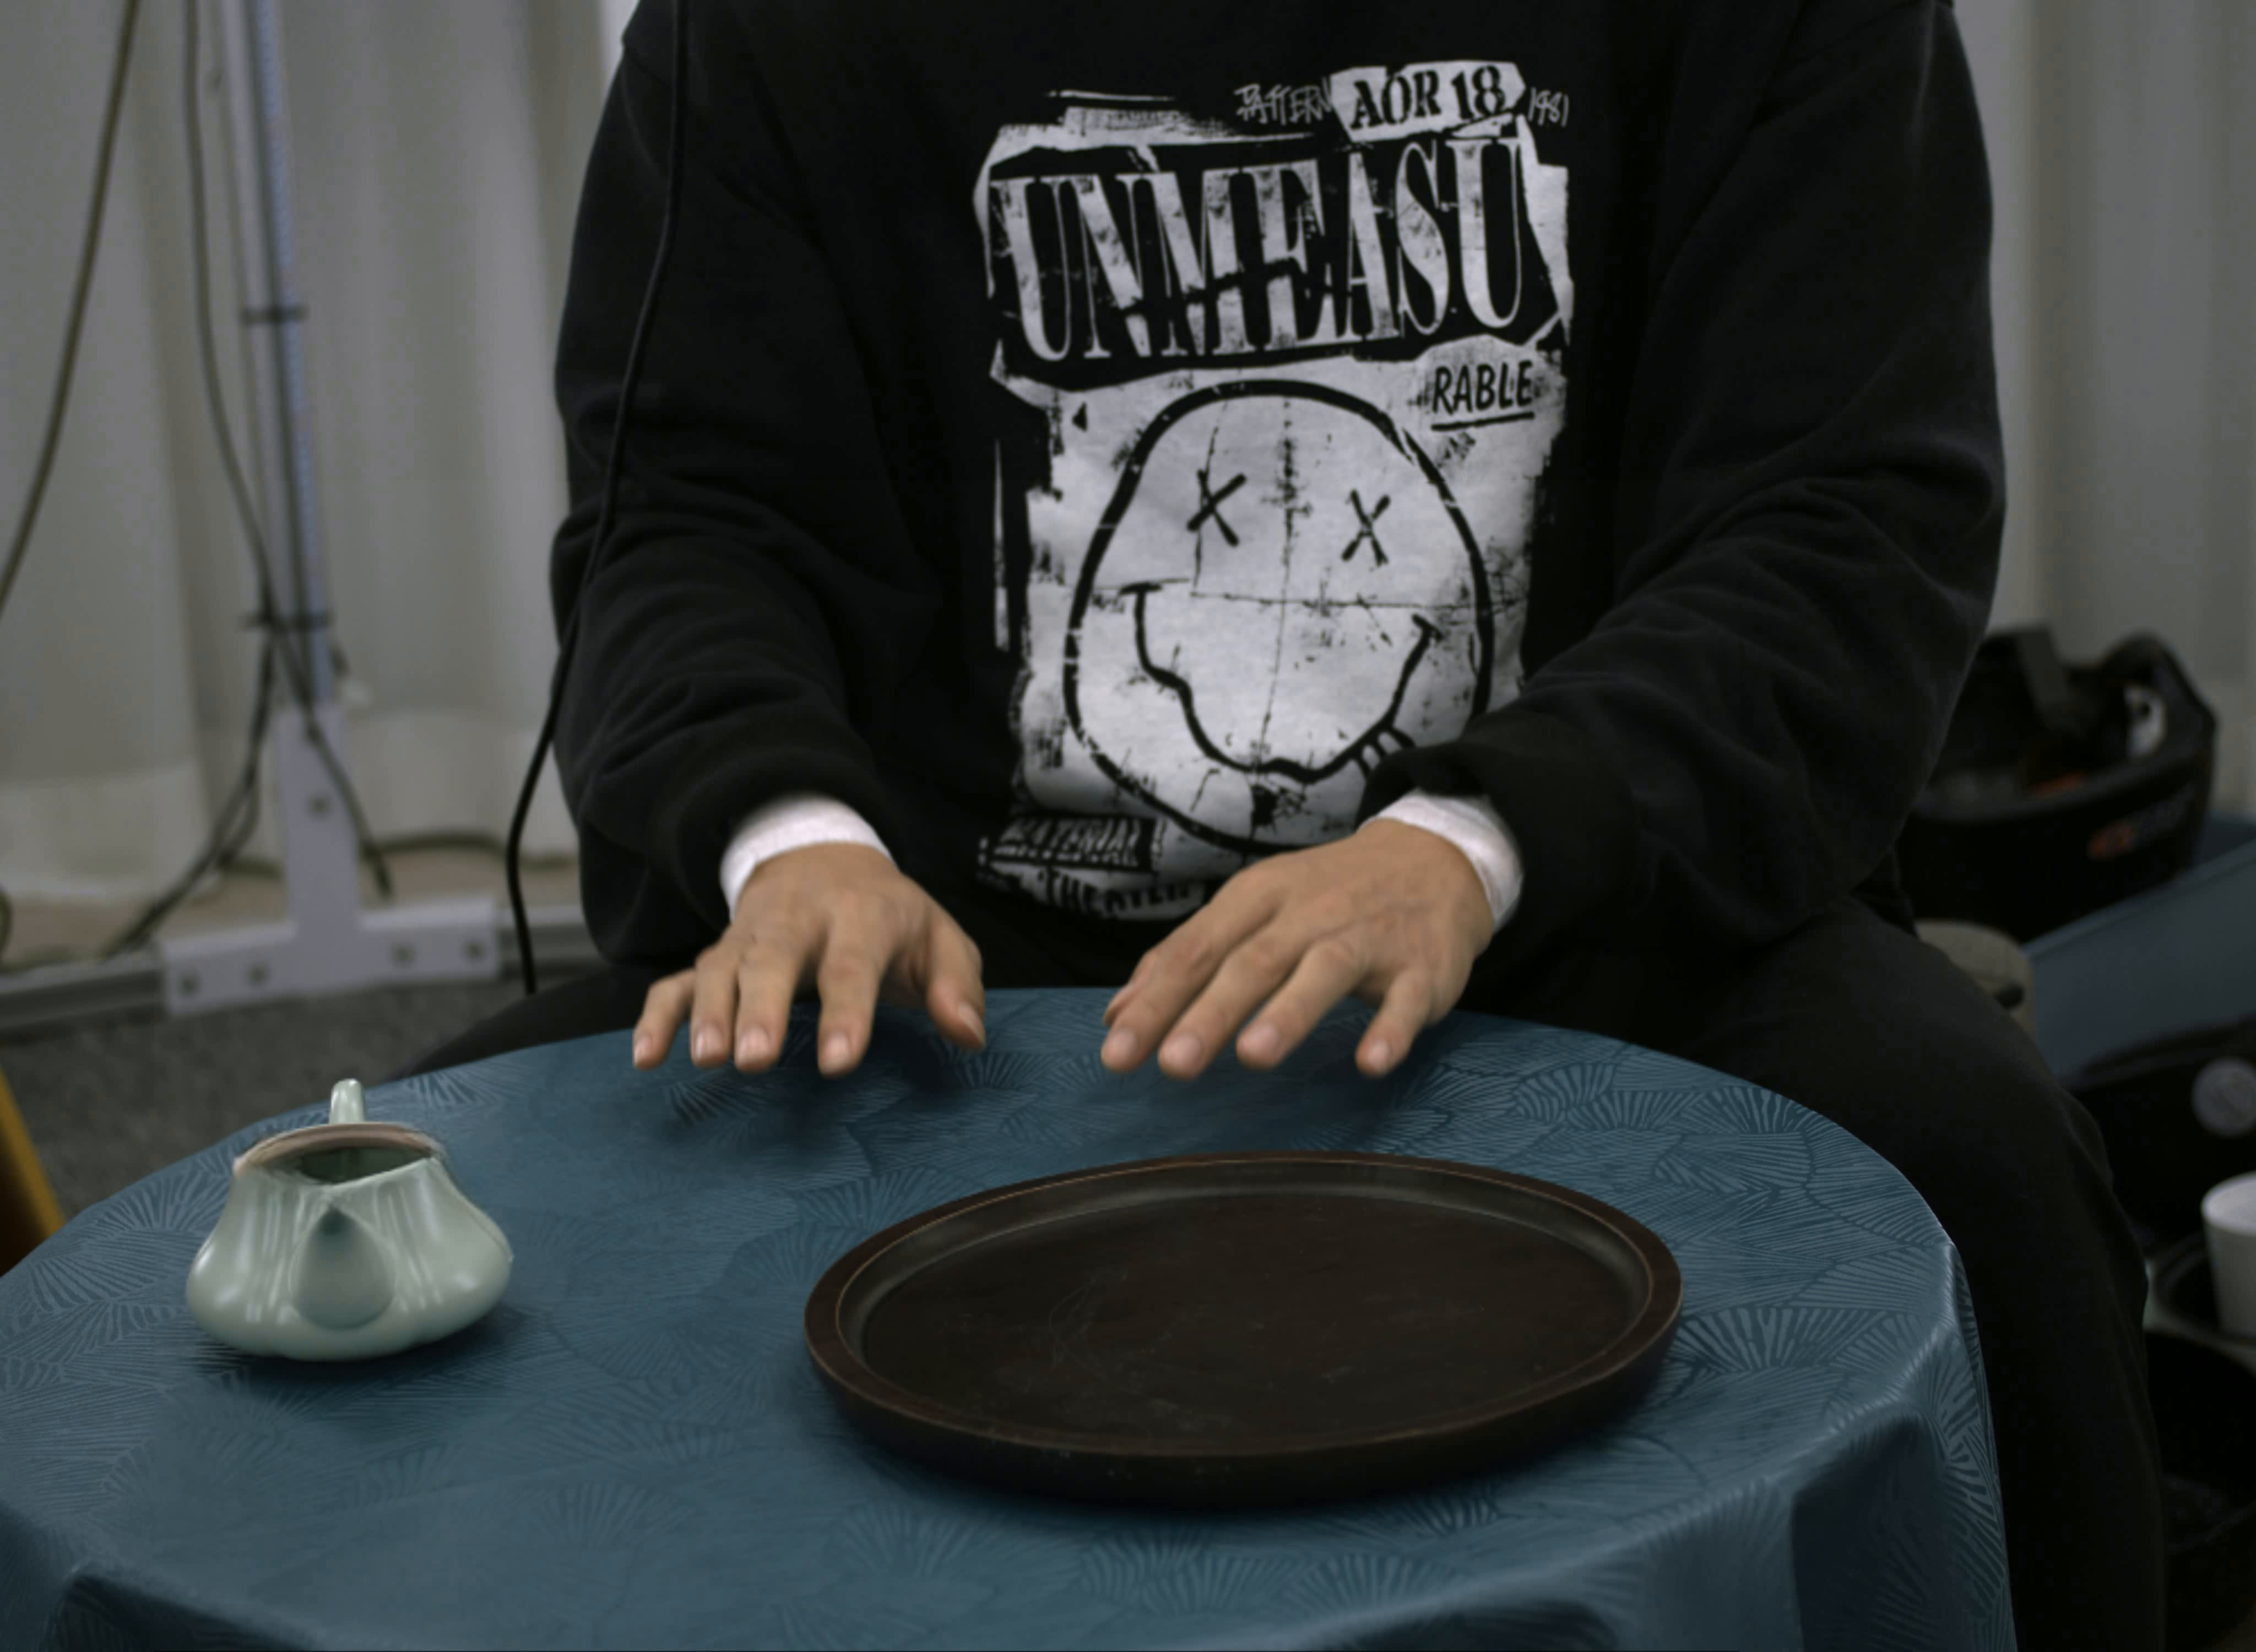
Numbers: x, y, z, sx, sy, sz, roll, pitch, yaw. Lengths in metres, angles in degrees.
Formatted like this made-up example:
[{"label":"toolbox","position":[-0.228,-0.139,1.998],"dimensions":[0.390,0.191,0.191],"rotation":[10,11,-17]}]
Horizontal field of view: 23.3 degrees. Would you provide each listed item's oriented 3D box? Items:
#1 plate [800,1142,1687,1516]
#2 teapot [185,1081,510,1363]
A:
[{"label":"plate","position":[0.033,0.142,1.558],"dimensions":[0.254,0.029,0.256],"rotation":[-4,16,1]},{"label":"teapot","position":[-0.232,0.121,1.621],"dimensions":[0.096,0.061,0.138],"rotation":[-6,15,-7]}]
